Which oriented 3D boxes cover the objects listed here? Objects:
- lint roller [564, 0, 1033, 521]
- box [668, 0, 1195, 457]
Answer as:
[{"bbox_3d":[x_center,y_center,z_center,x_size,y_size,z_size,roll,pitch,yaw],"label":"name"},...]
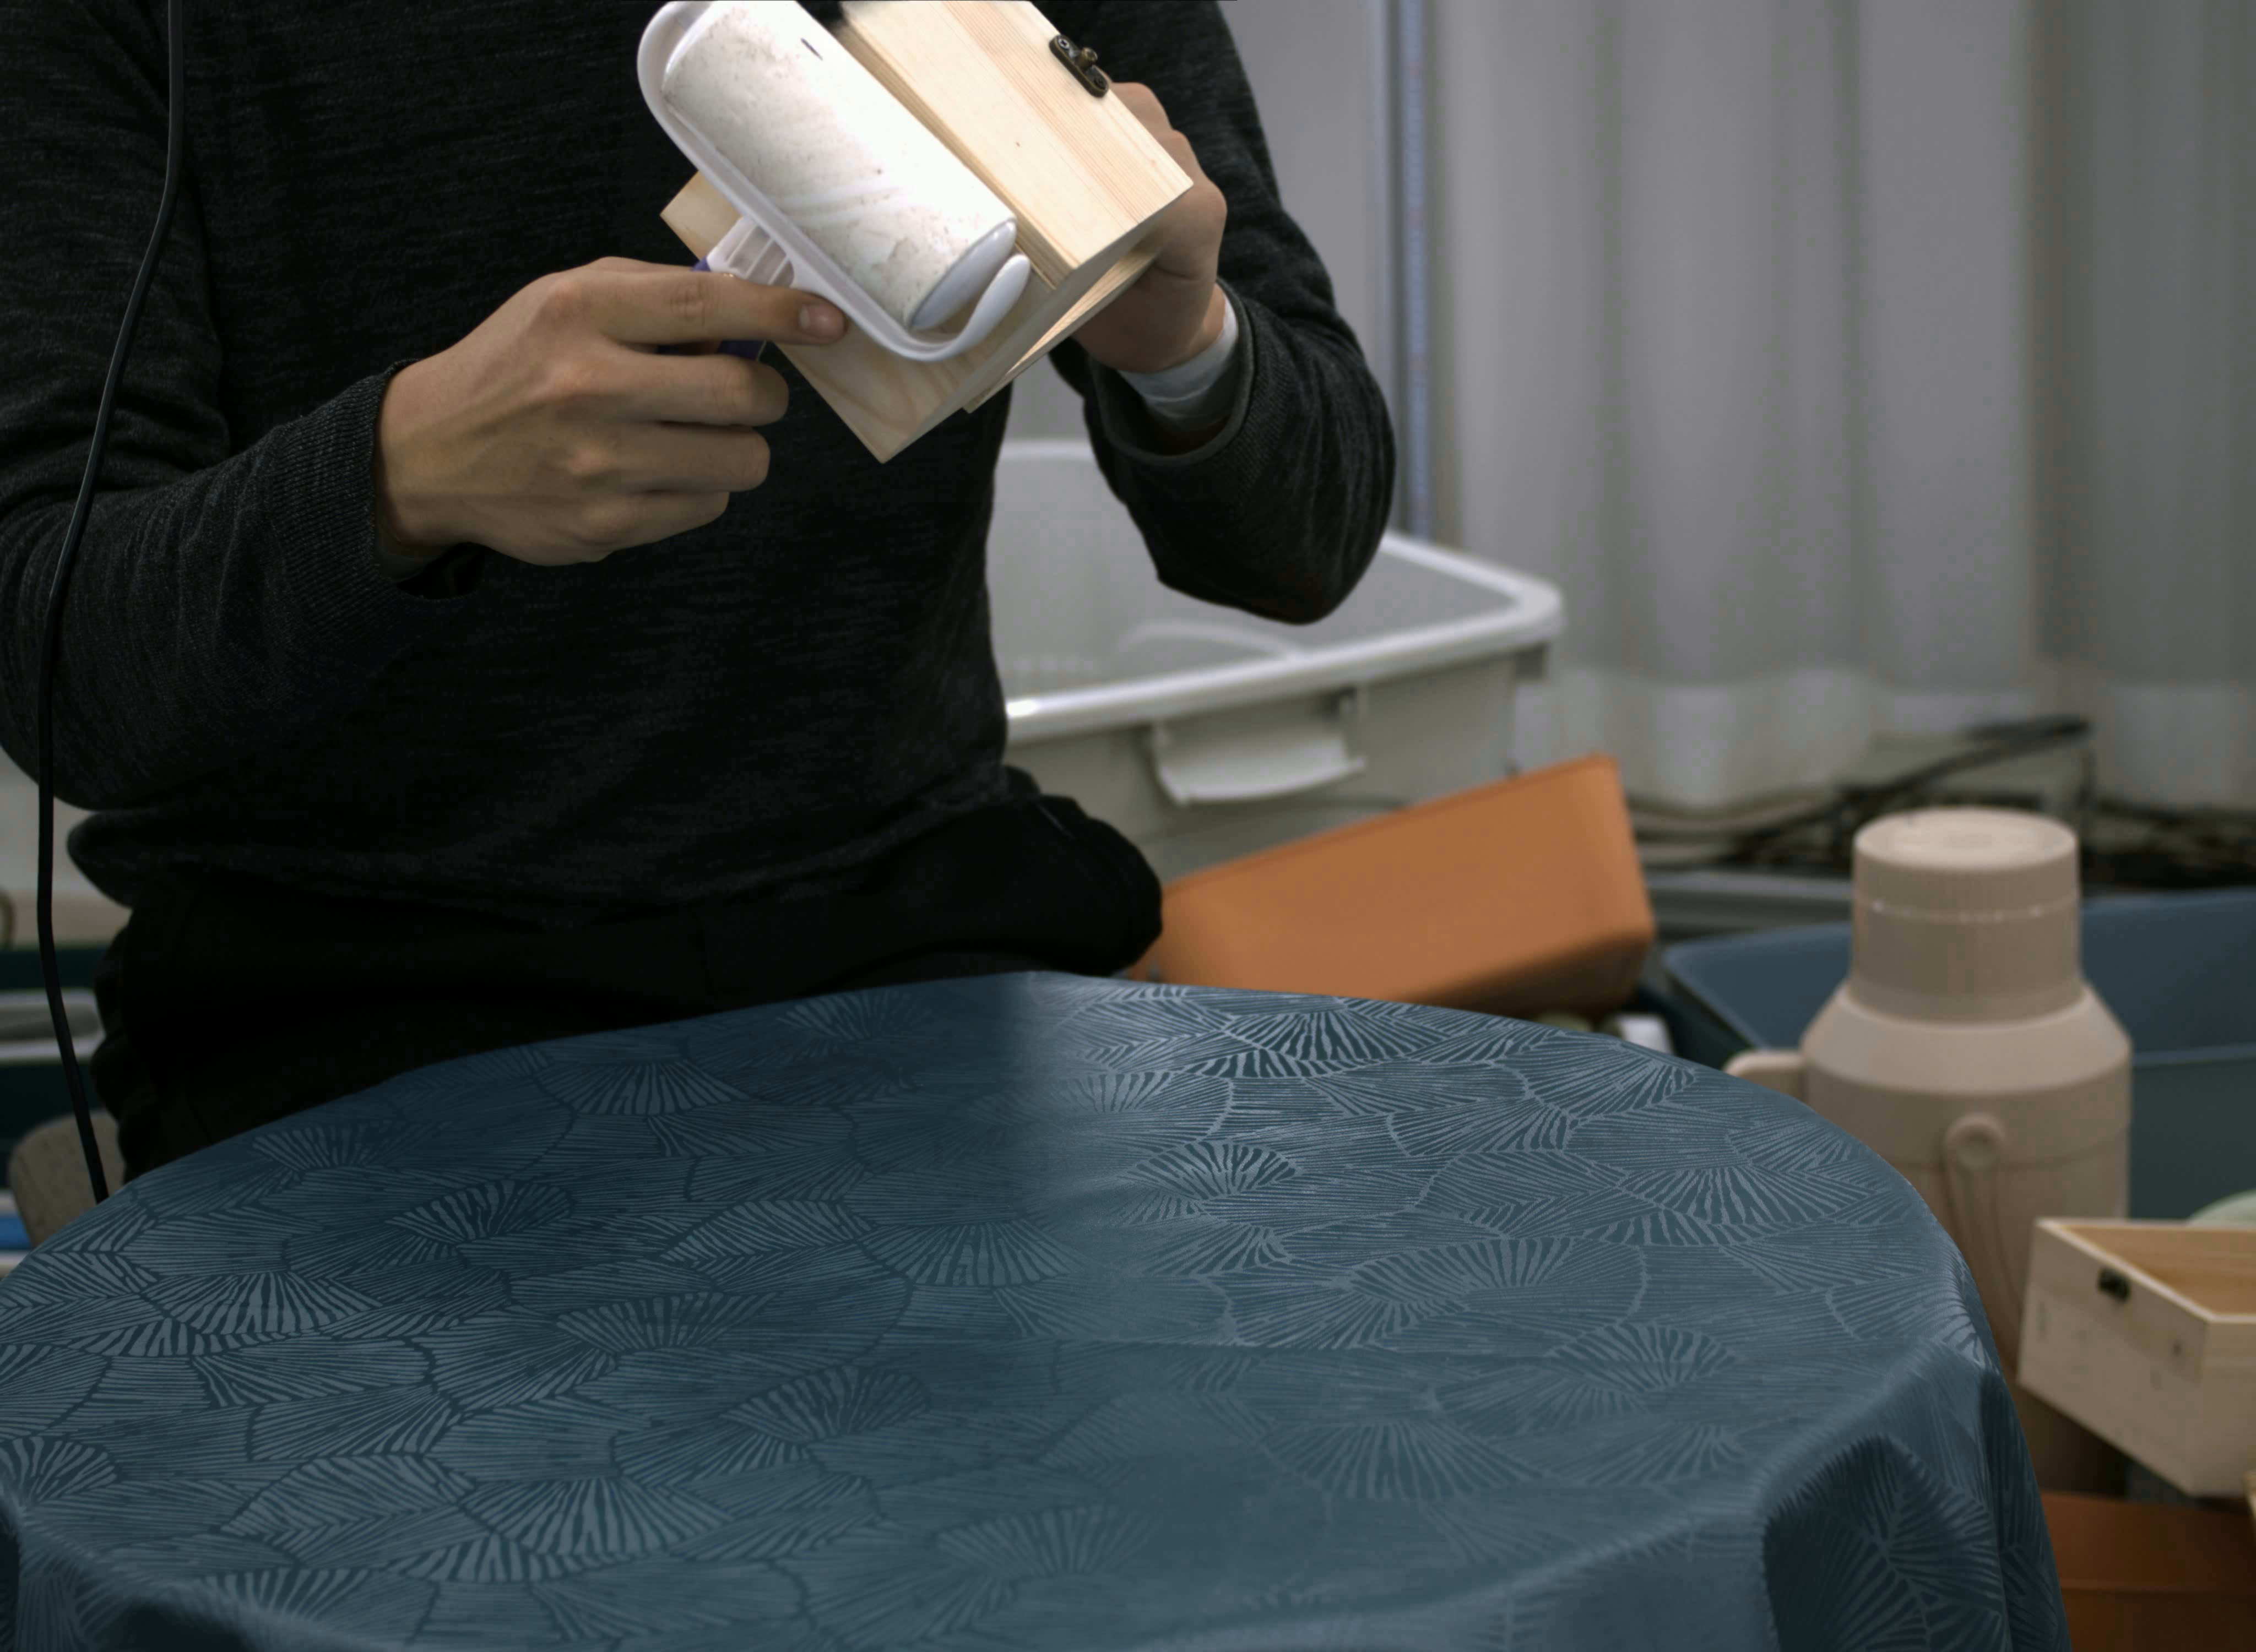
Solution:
[{"bbox_3d":[-0.121,-0.151,1.605,0.180,0.133,0.050,-46,-4,27],"label":"lint roller"},{"bbox_3d":[-0.040,-0.205,1.687,0.133,0.103,0.185,-42,-1,38],"label":"box"}]
